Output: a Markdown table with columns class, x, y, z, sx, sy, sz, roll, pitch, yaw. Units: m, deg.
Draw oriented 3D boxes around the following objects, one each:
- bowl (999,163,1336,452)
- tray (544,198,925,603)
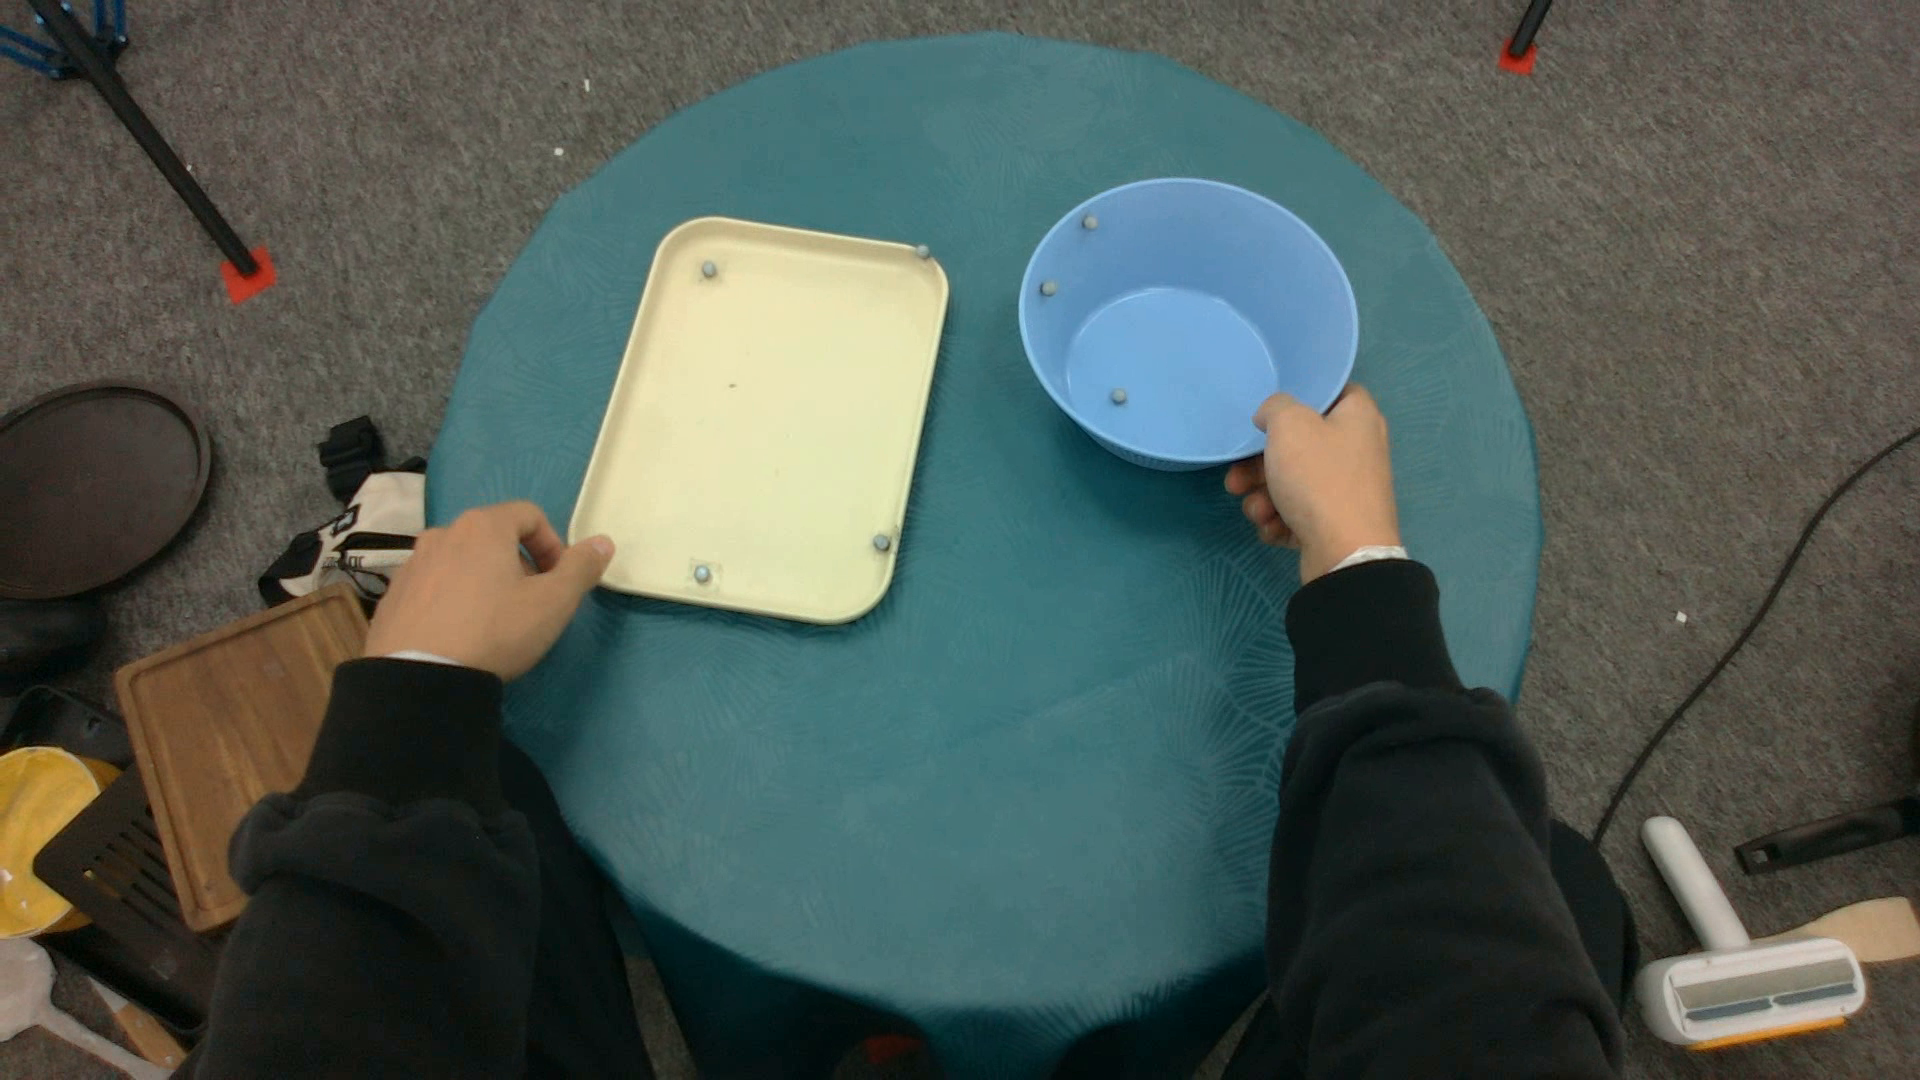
| class | x | y | z | sx | sy | sz | roll | pitch | yaw |
| --- | --- | --- | --- | --- | --- | --- | --- | --- | --- |
| bowl | 0.107 | -0.114 | 0.743 | 0.176 | 0.070 | 0.176 | 1 | 64 | -1 |
| tray | -0.117 | -0.081 | 0.749 | 0.171 | 0.017 | 0.240 | 9 | 65 | 3 |
